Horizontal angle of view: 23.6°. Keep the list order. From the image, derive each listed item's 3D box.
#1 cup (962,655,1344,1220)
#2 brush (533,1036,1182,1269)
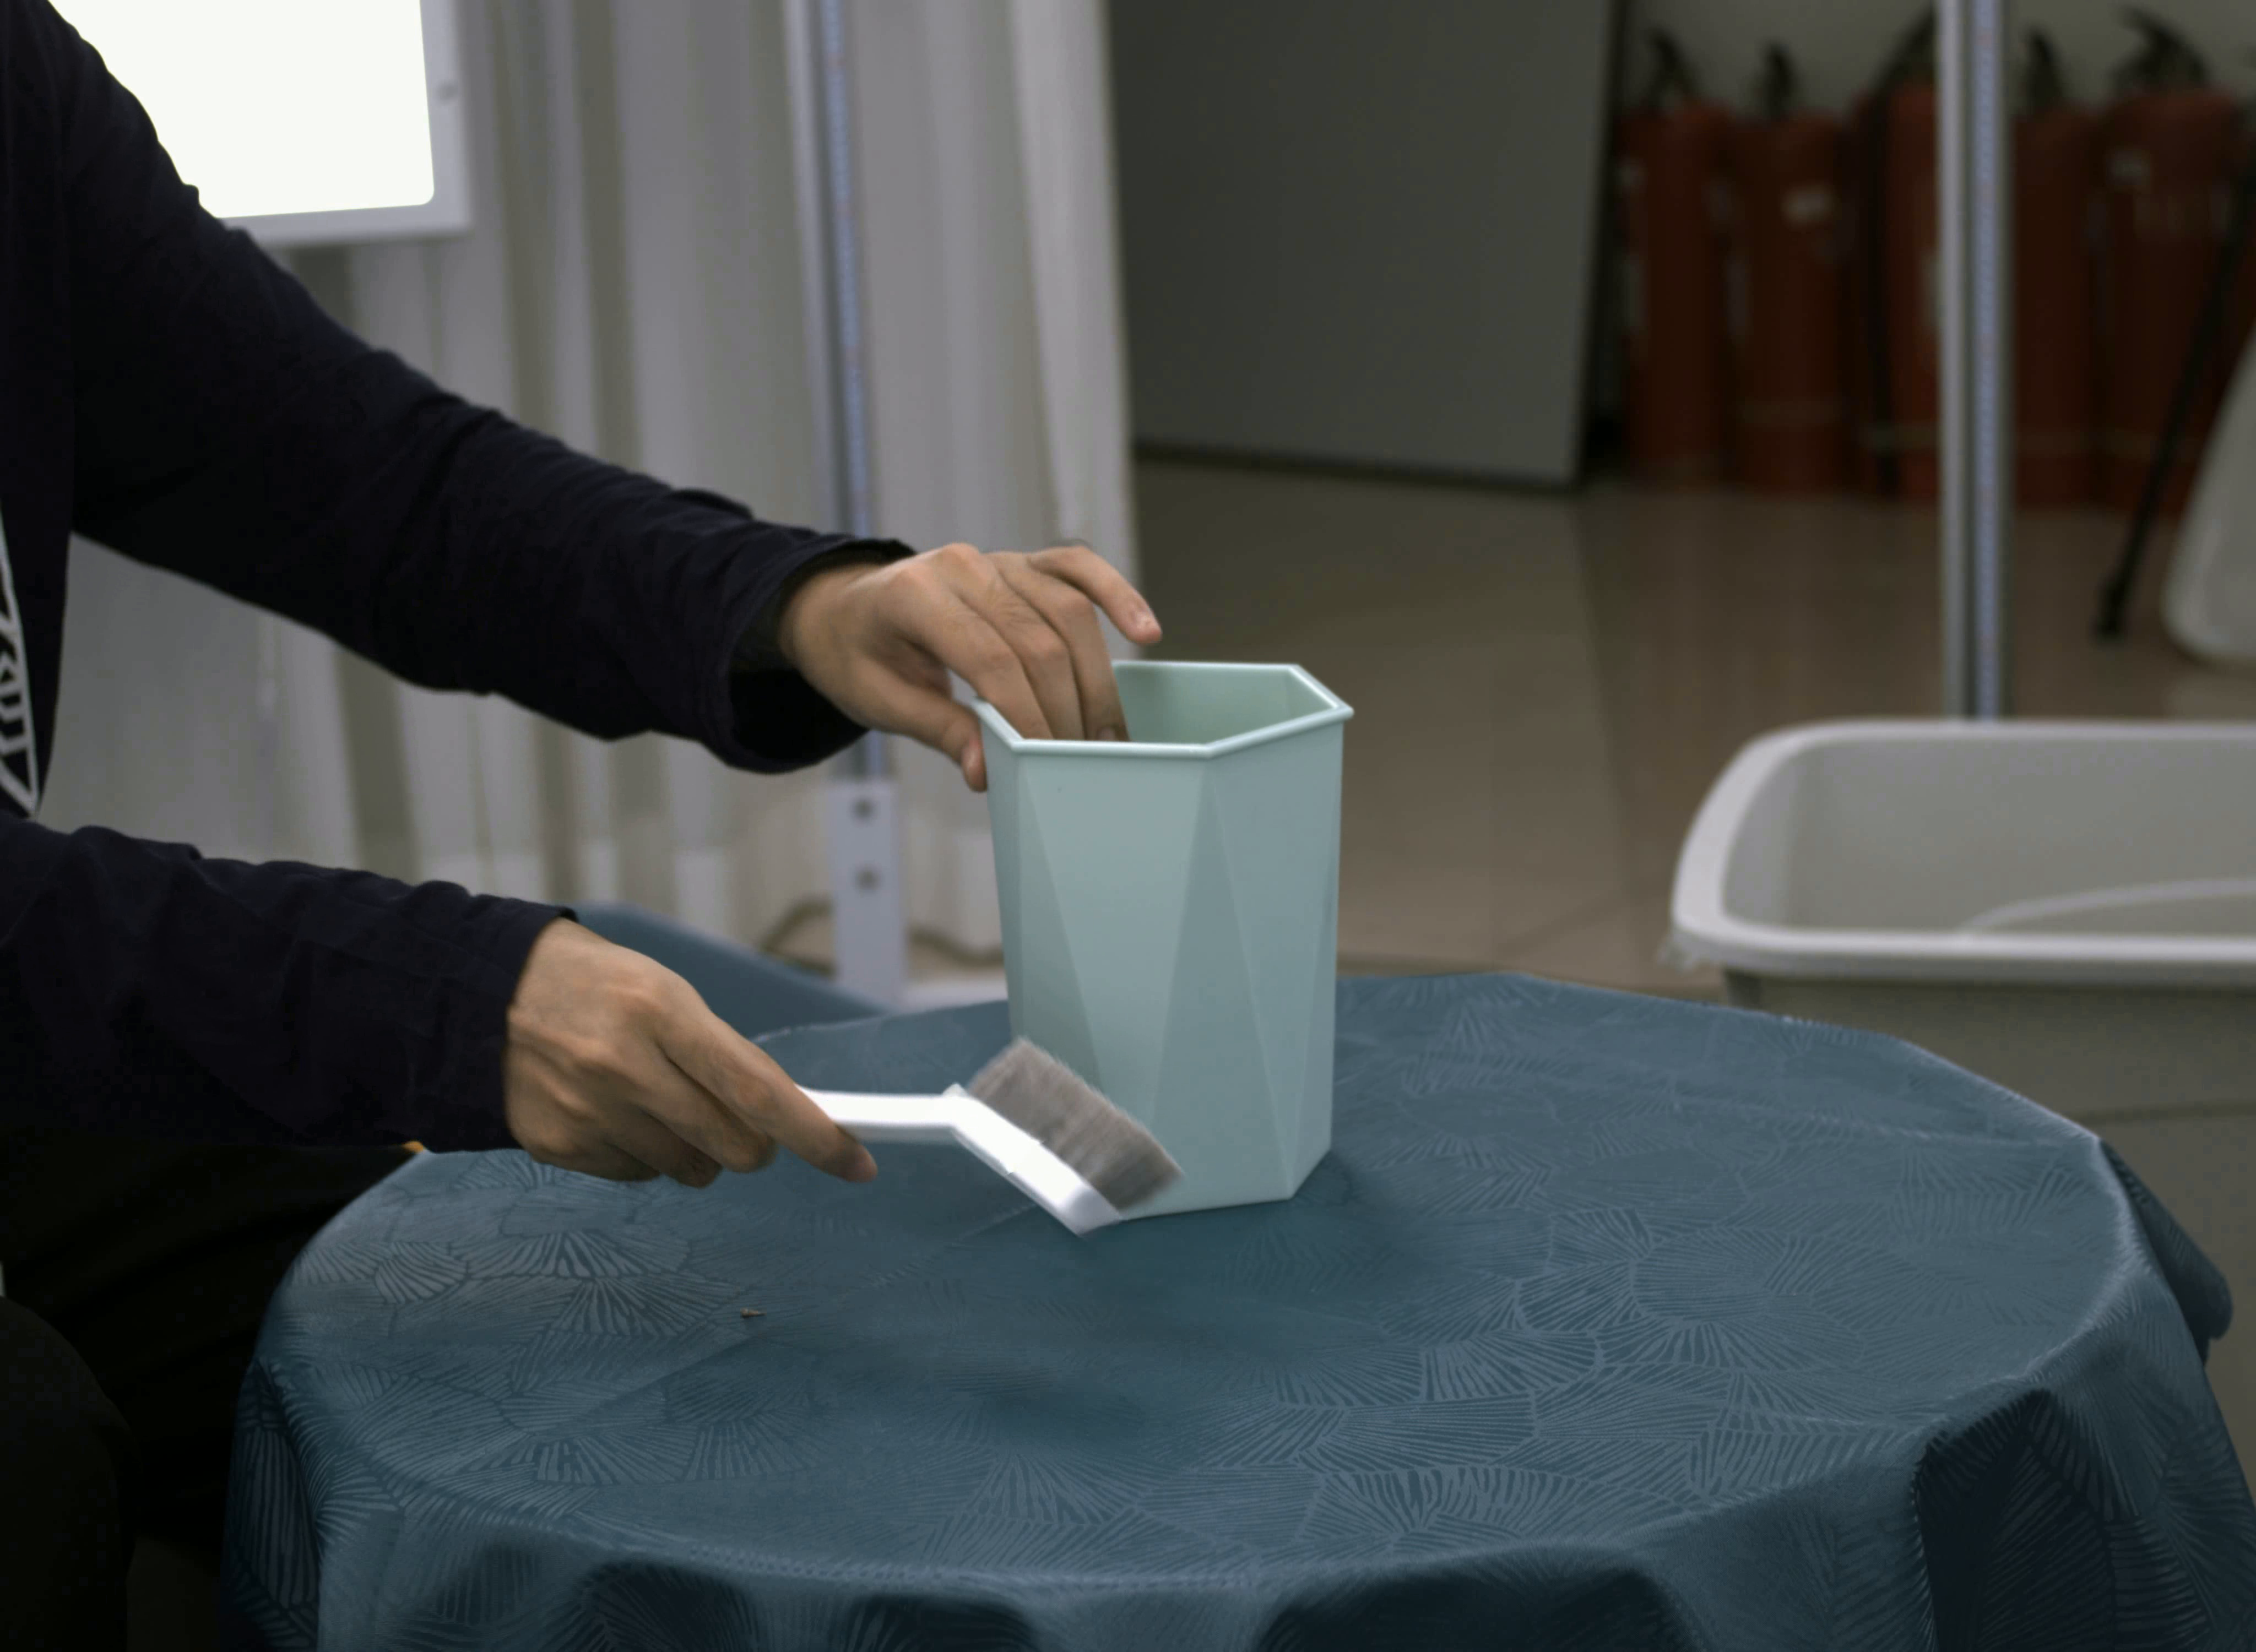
[{"bbox_3d":[0.014,0.036,1.774,0.113,0.165,0.132,-8,14,-13],"label":"cup"},{"bbox_3d":[-0.086,0.081,1.656,0.245,0.050,0.034,16,-11,37],"label":"brush"}]
